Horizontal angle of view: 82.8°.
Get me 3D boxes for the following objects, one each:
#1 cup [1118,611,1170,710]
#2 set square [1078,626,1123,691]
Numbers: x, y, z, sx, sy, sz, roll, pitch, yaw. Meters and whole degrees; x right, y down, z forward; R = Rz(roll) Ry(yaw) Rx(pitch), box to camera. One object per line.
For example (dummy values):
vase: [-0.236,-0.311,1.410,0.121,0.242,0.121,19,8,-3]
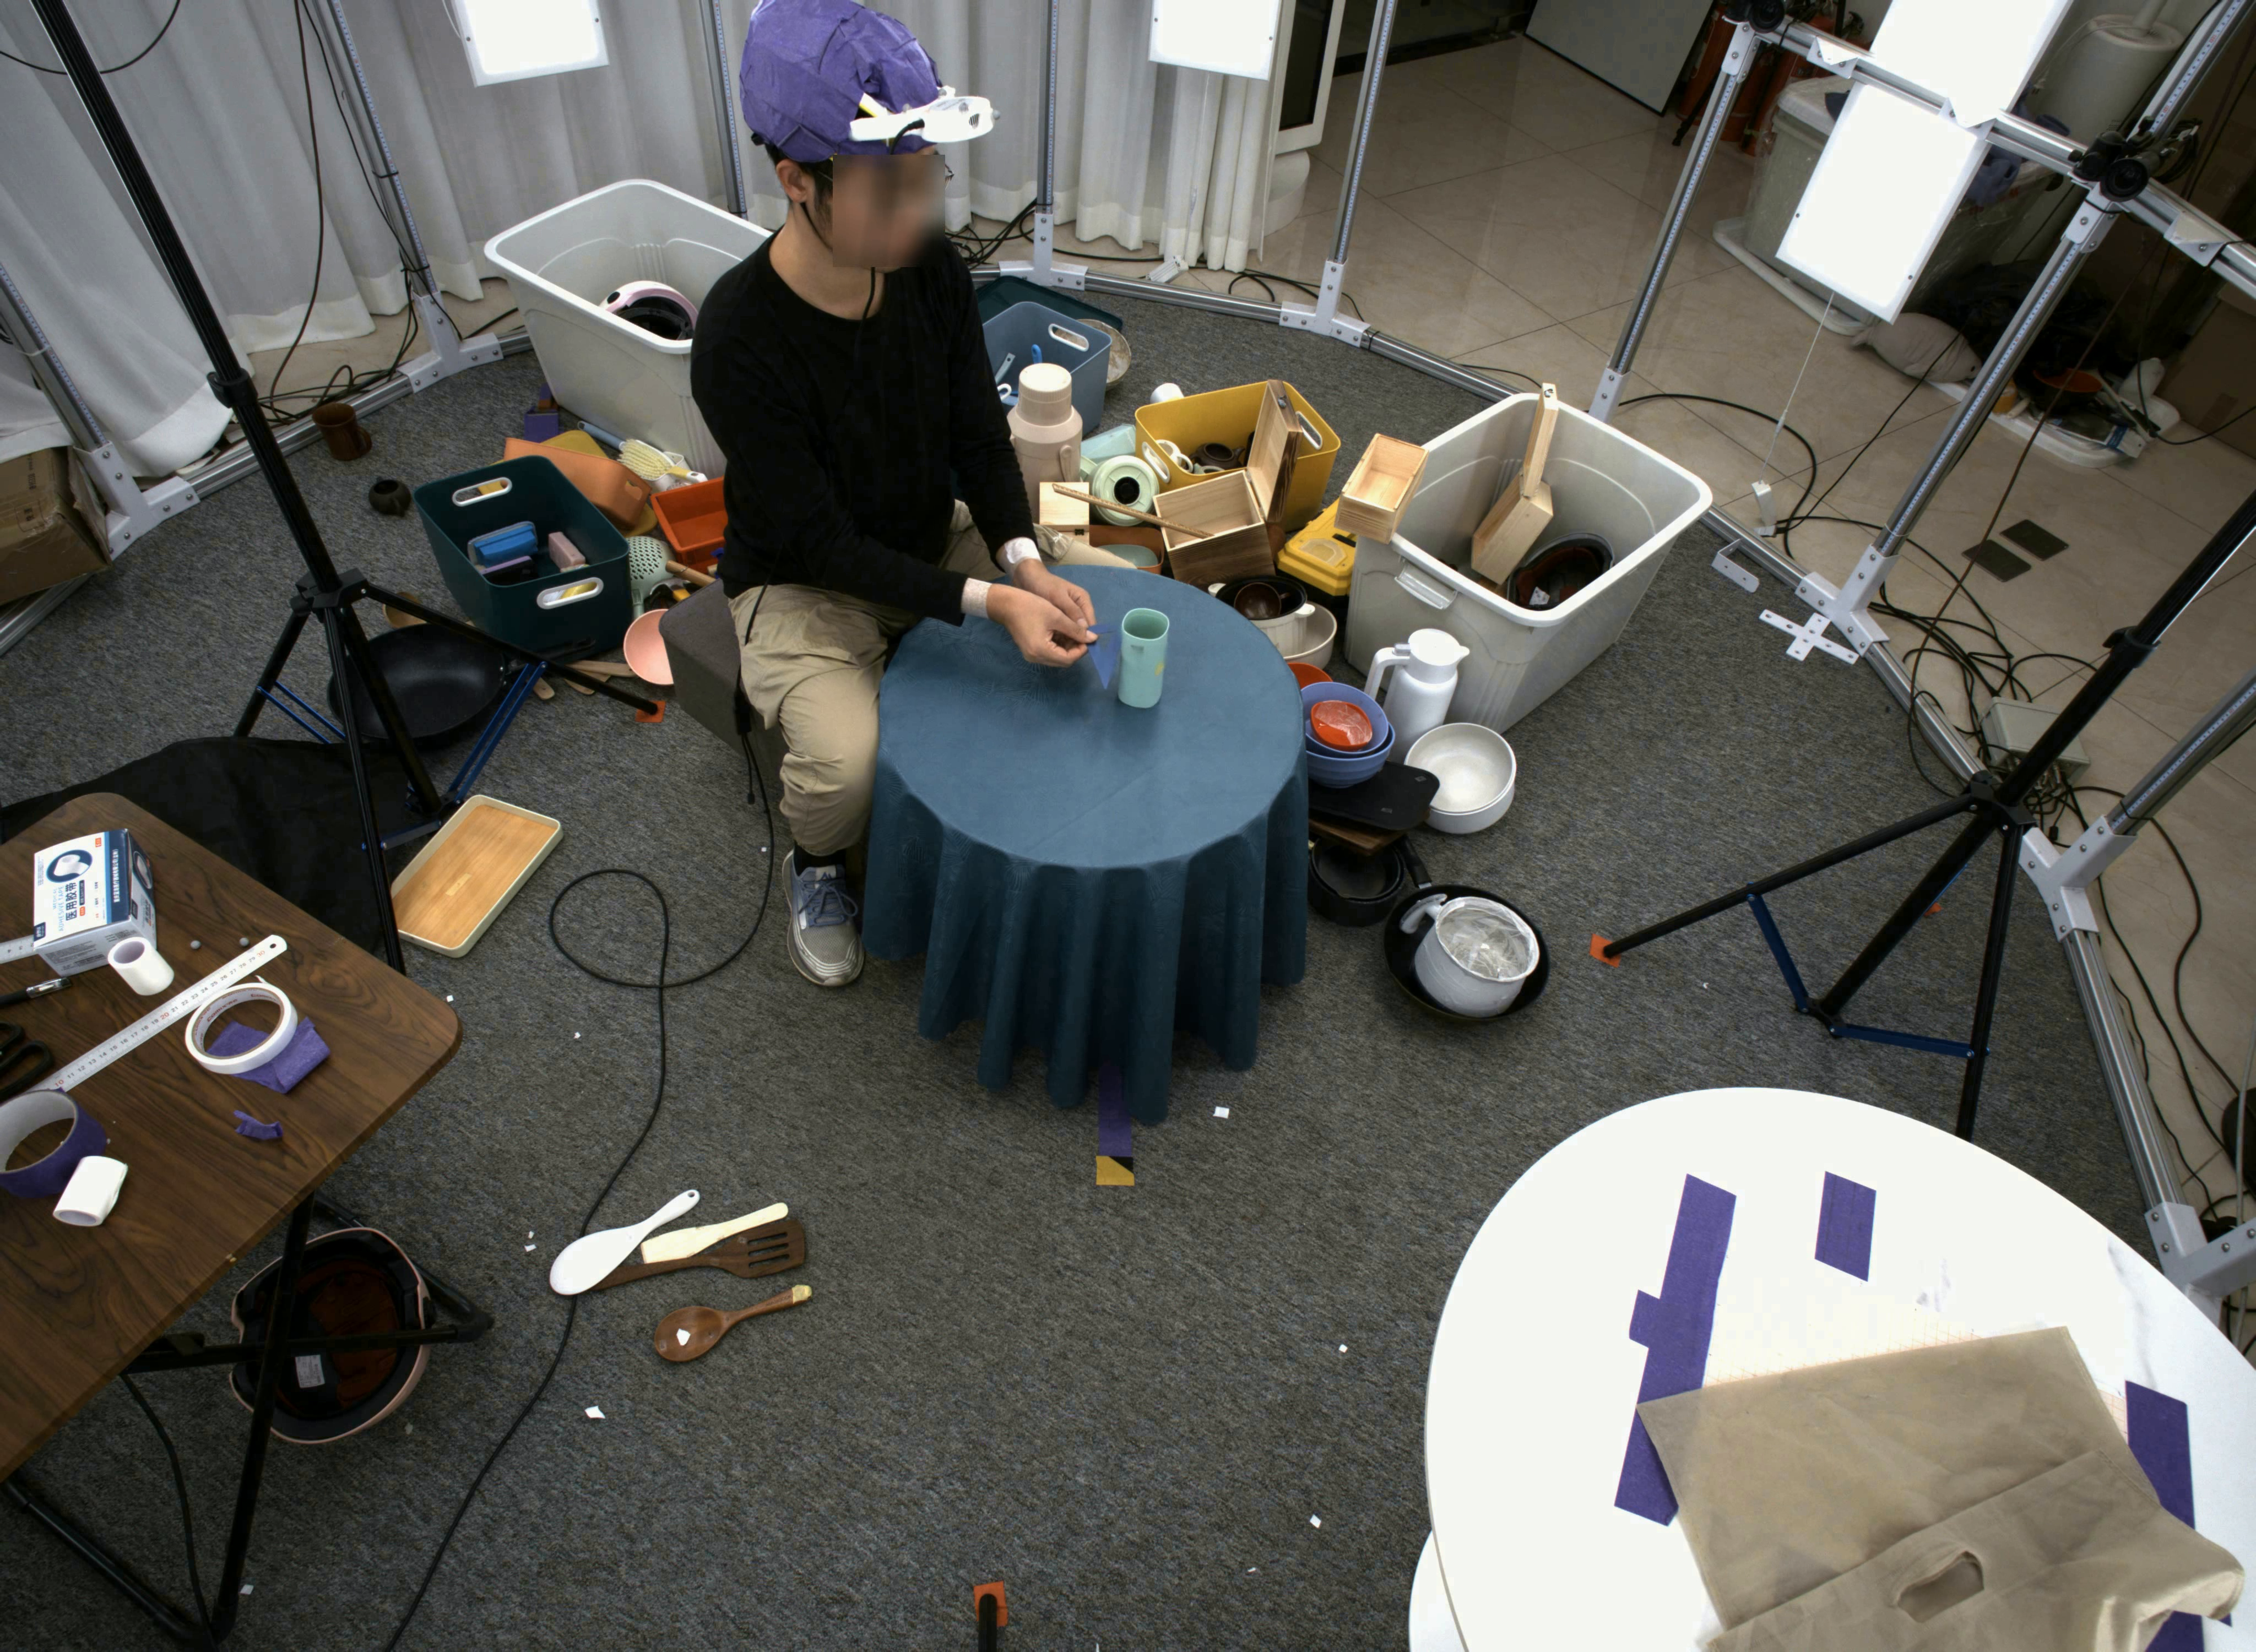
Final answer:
cup: [0.019,-0.231,1.792,0.066,0.129,0.068,2,50,-3]
set square: [-0.051,-0.237,1.761,0.061,0.006,0.135,16,52,7]
